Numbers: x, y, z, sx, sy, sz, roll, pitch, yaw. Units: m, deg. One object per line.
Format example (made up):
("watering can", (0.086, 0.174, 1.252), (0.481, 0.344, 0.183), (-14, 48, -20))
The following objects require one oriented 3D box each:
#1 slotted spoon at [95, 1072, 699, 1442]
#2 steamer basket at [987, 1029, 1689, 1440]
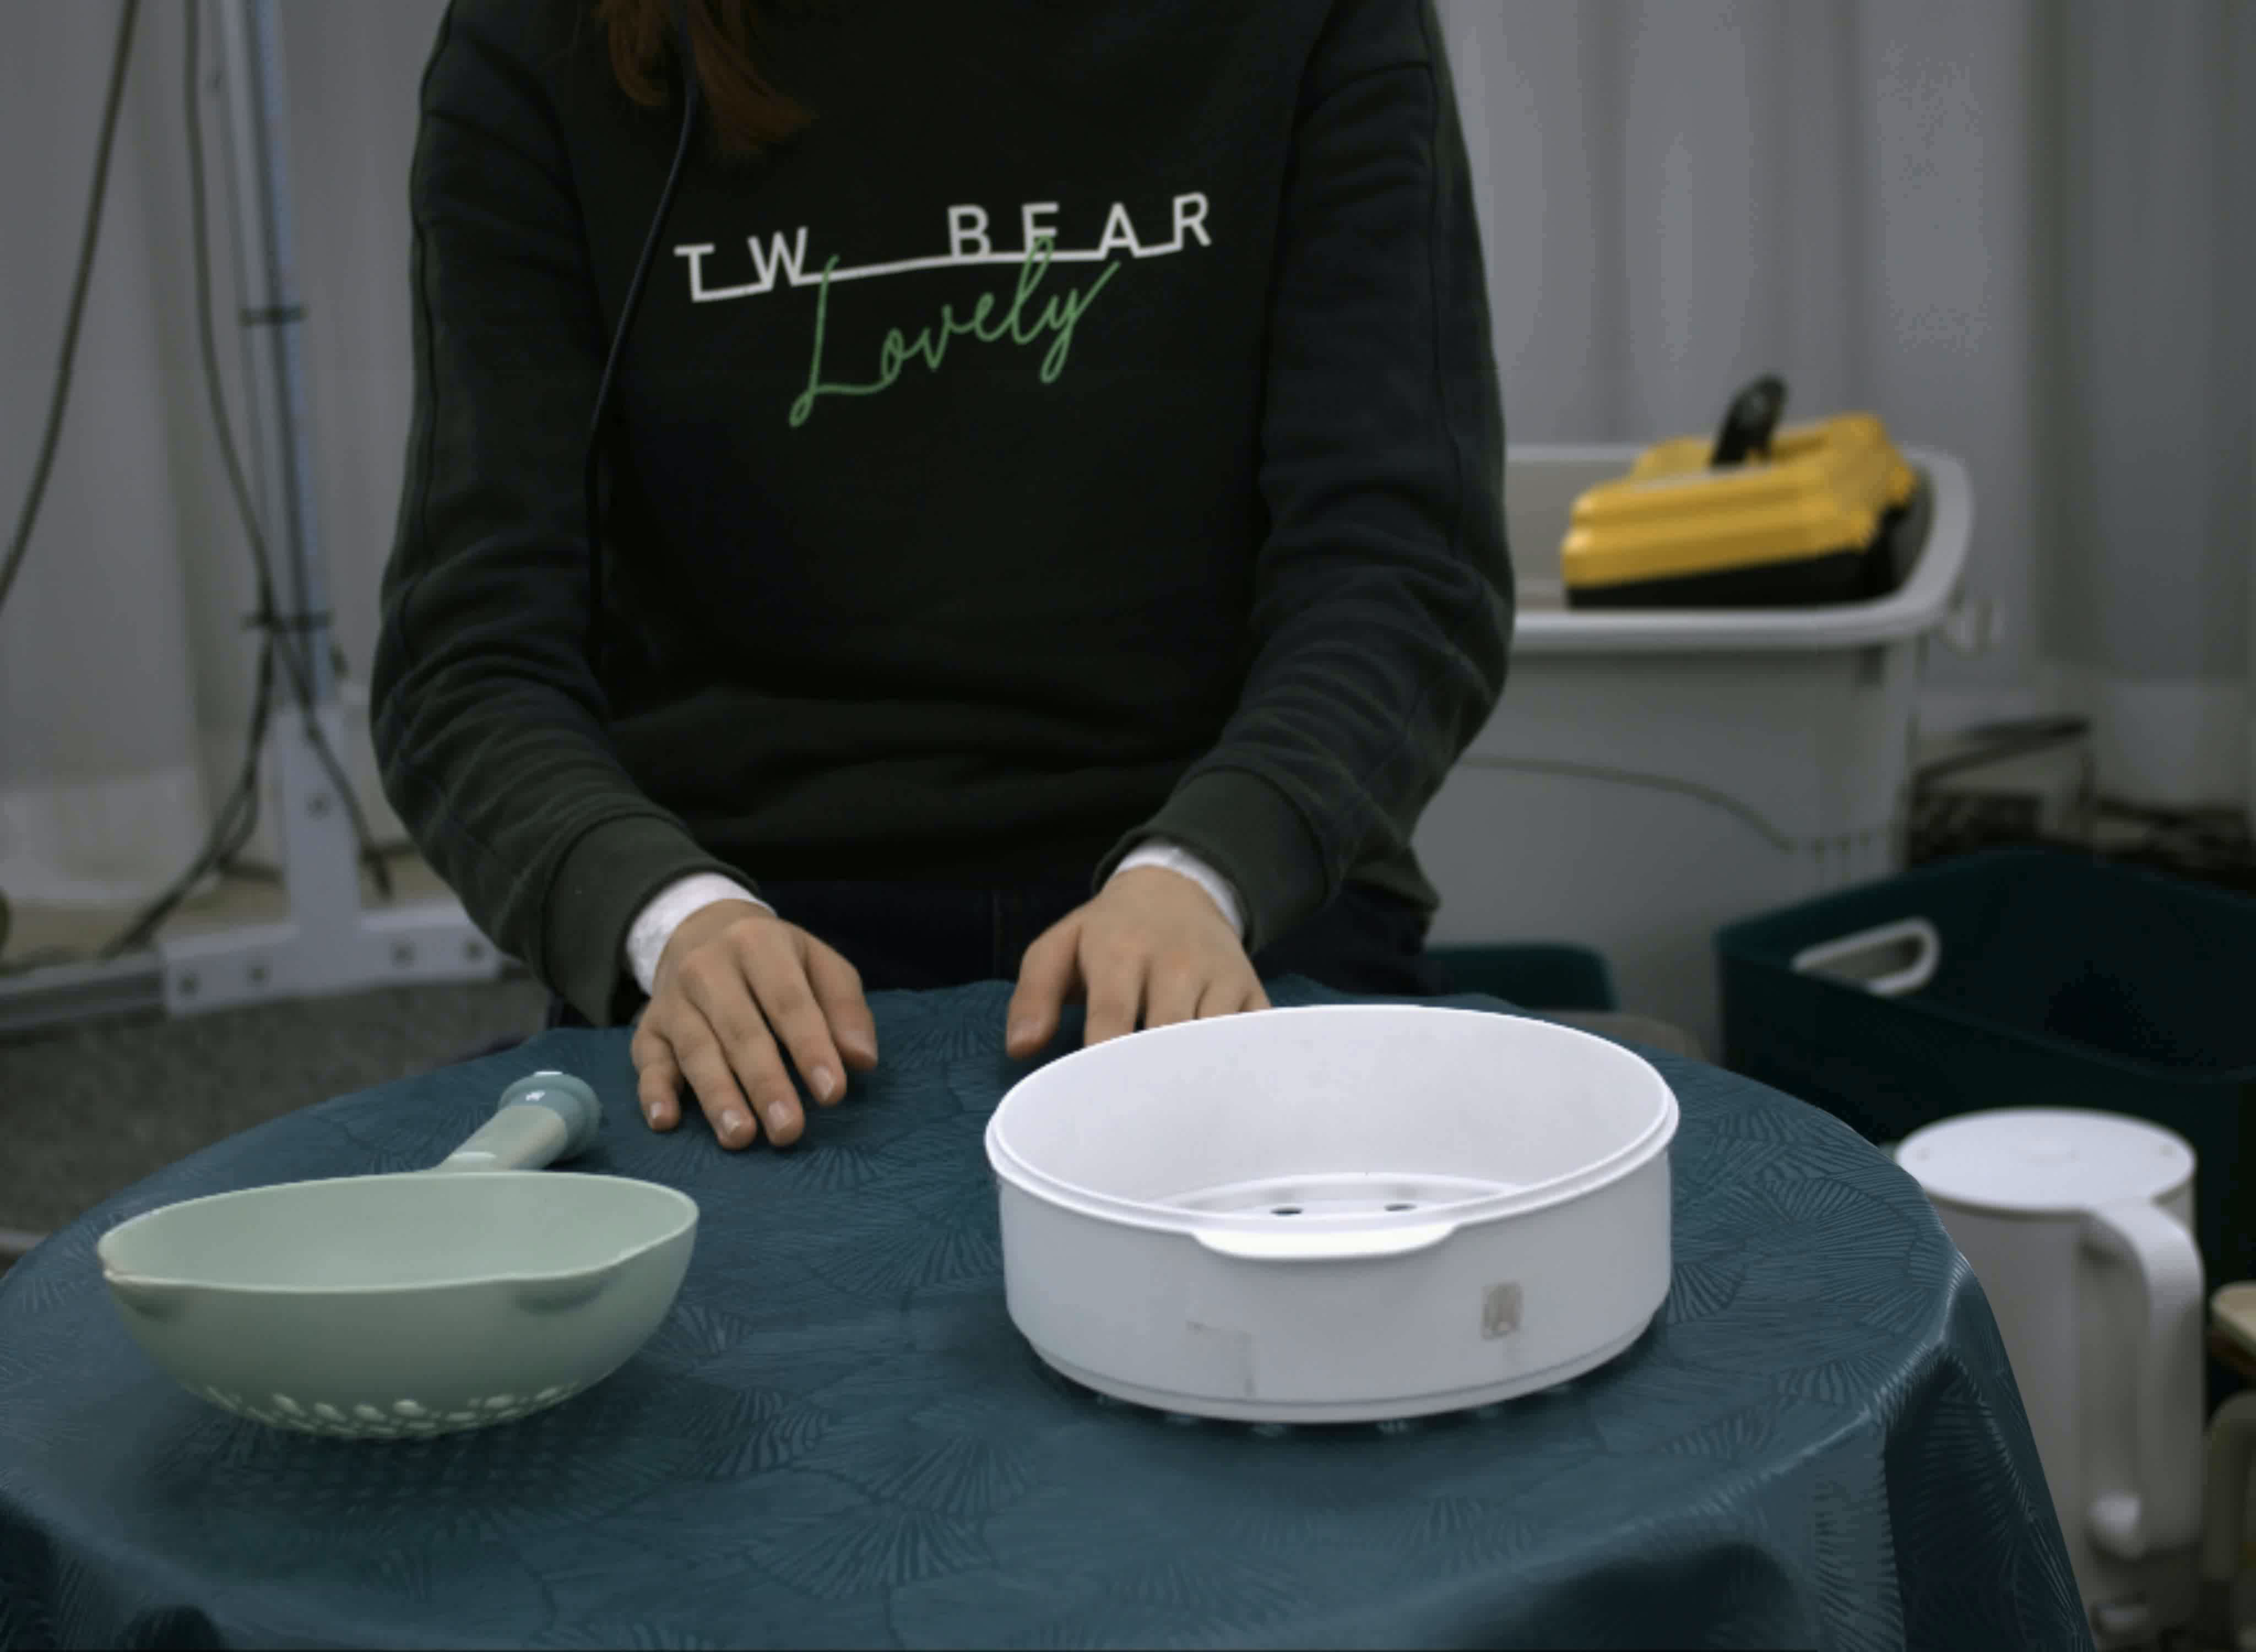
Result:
("slotted spoon", (-0.197, 0.113, 1.634), (0.169, 0.075, 0.361), (-1, 15, 5))
("steamer basket", (0.061, 0.117, 1.576), (0.201, 0.069, 0.232), (0, 14, 3))
